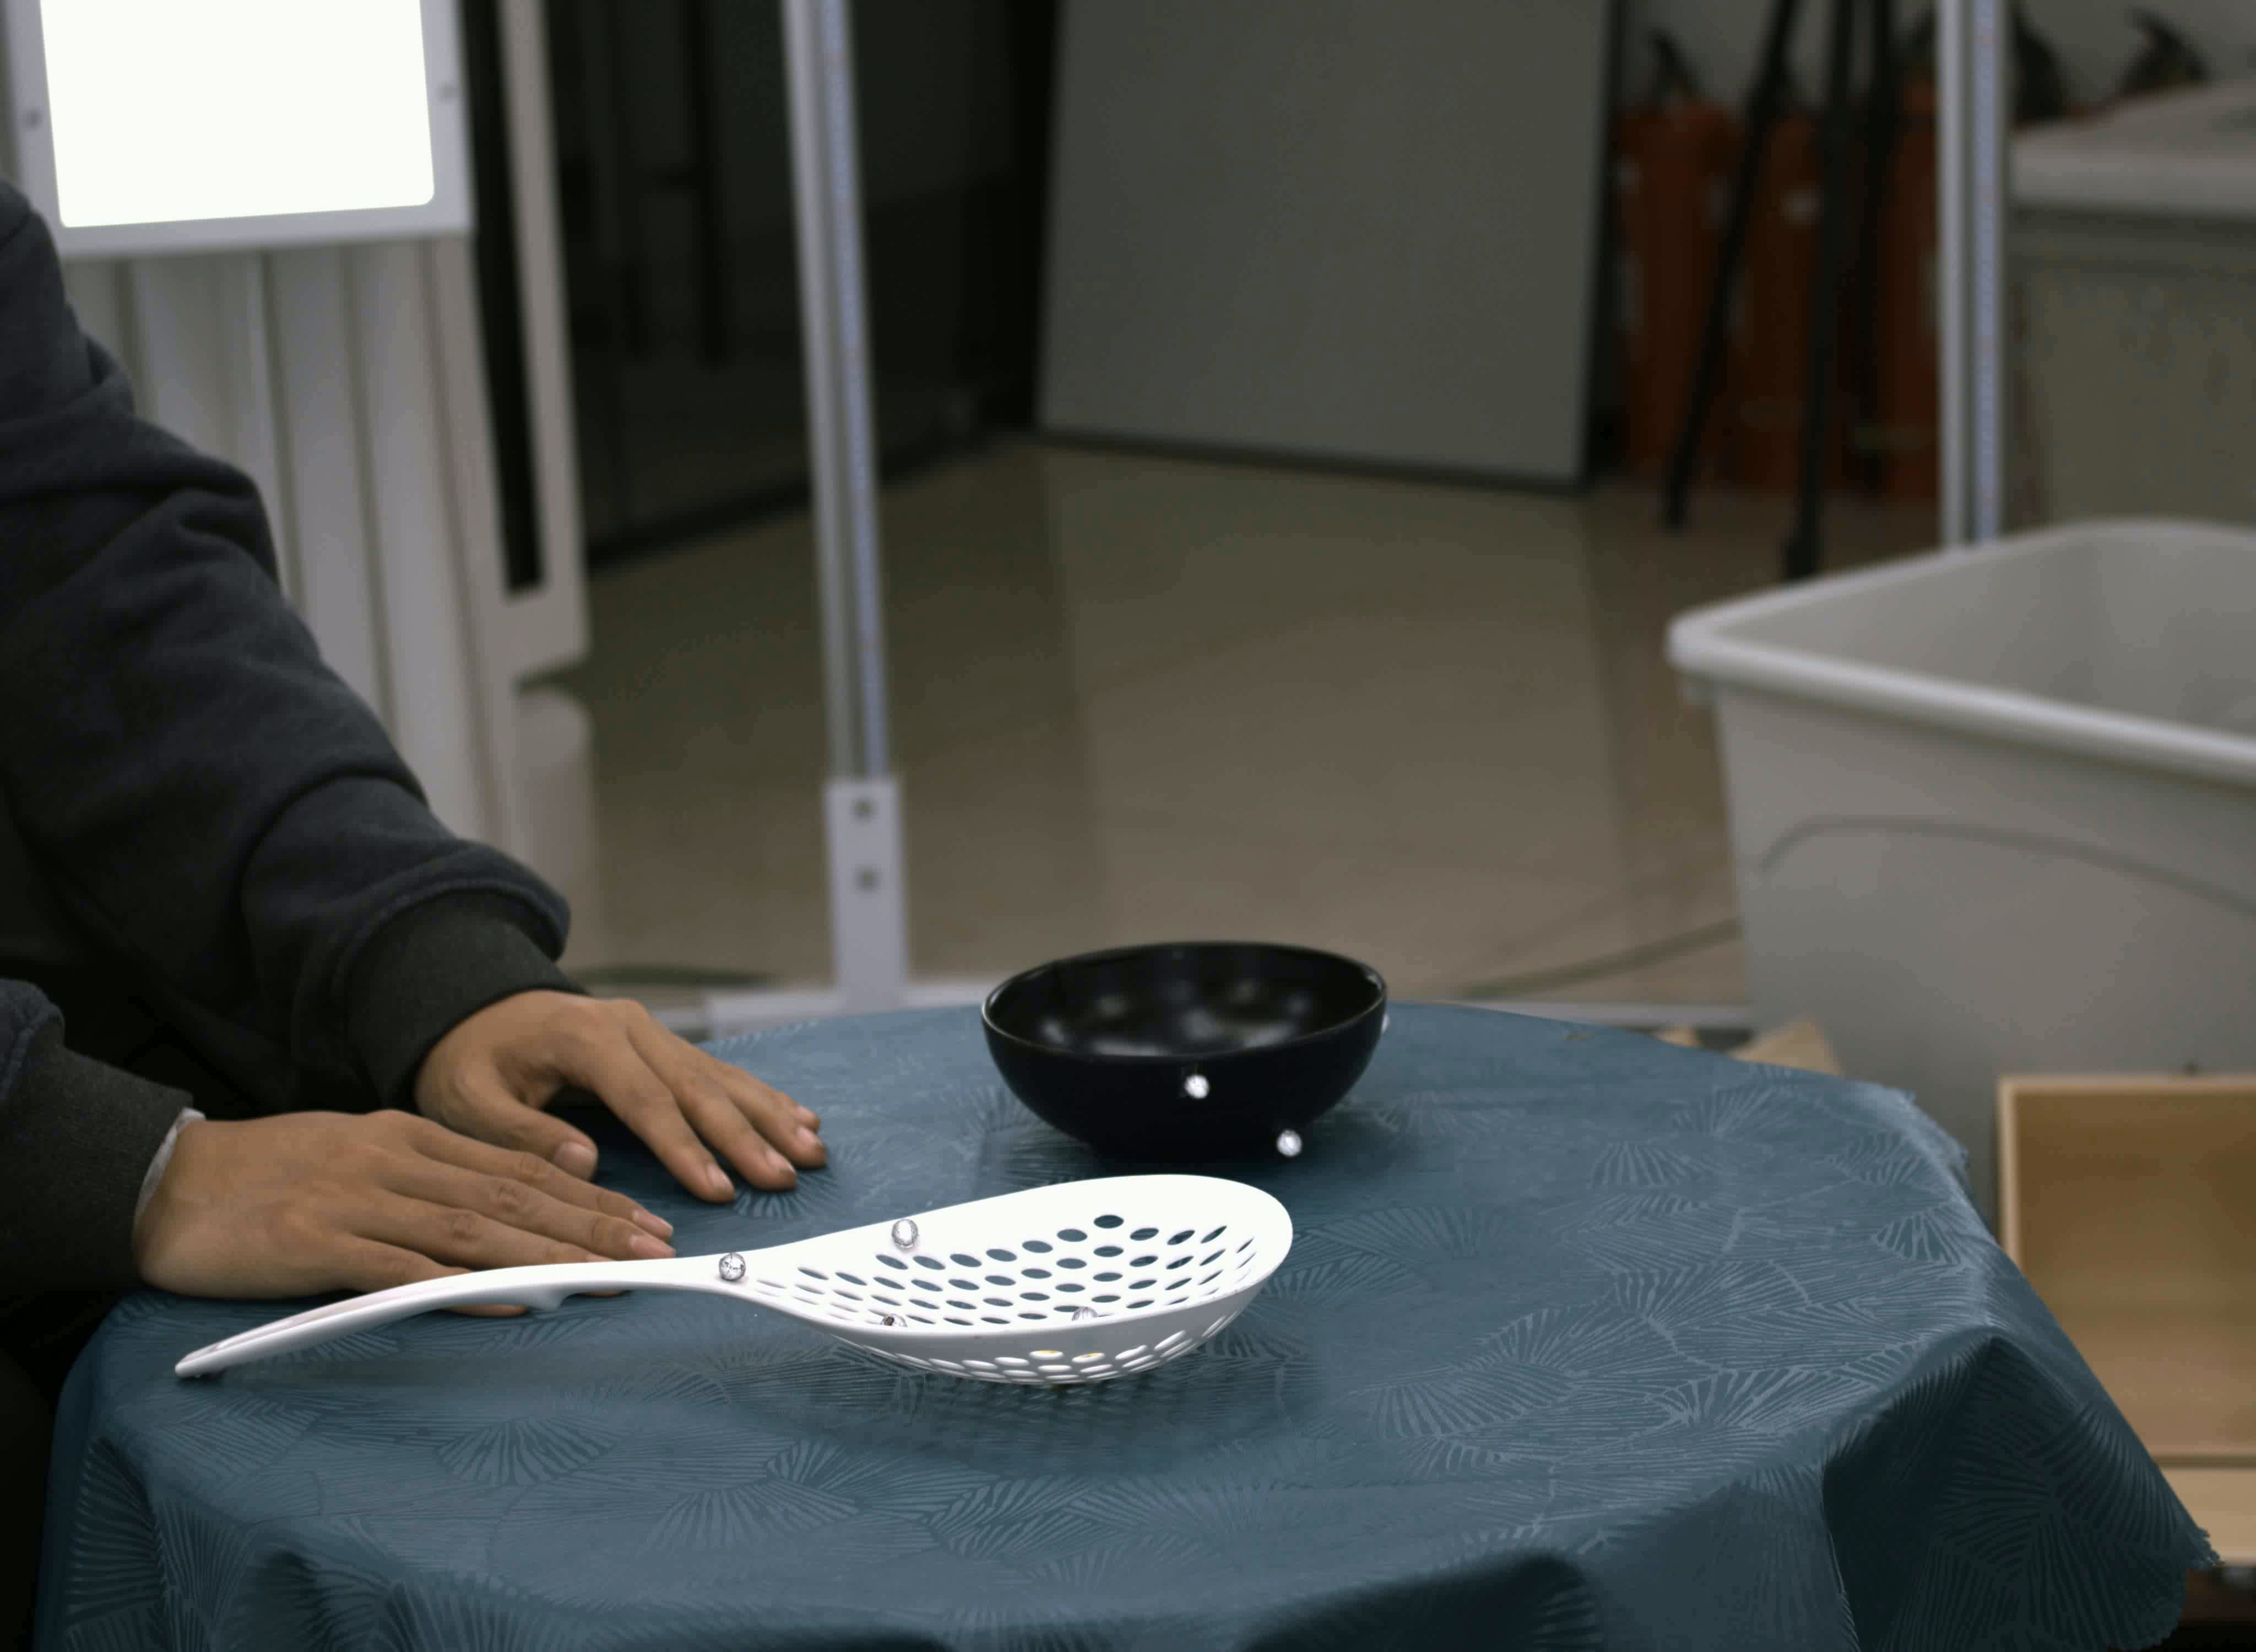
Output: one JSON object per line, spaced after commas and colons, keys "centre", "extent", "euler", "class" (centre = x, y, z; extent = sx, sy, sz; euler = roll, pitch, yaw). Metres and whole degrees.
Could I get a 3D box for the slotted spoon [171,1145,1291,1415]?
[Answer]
{"centre": [-0.120, 0.145, 1.621], "extent": [0.345, 0.051, 0.136], "euler": [-2, 17, 9], "class": "slotted spoon"}
